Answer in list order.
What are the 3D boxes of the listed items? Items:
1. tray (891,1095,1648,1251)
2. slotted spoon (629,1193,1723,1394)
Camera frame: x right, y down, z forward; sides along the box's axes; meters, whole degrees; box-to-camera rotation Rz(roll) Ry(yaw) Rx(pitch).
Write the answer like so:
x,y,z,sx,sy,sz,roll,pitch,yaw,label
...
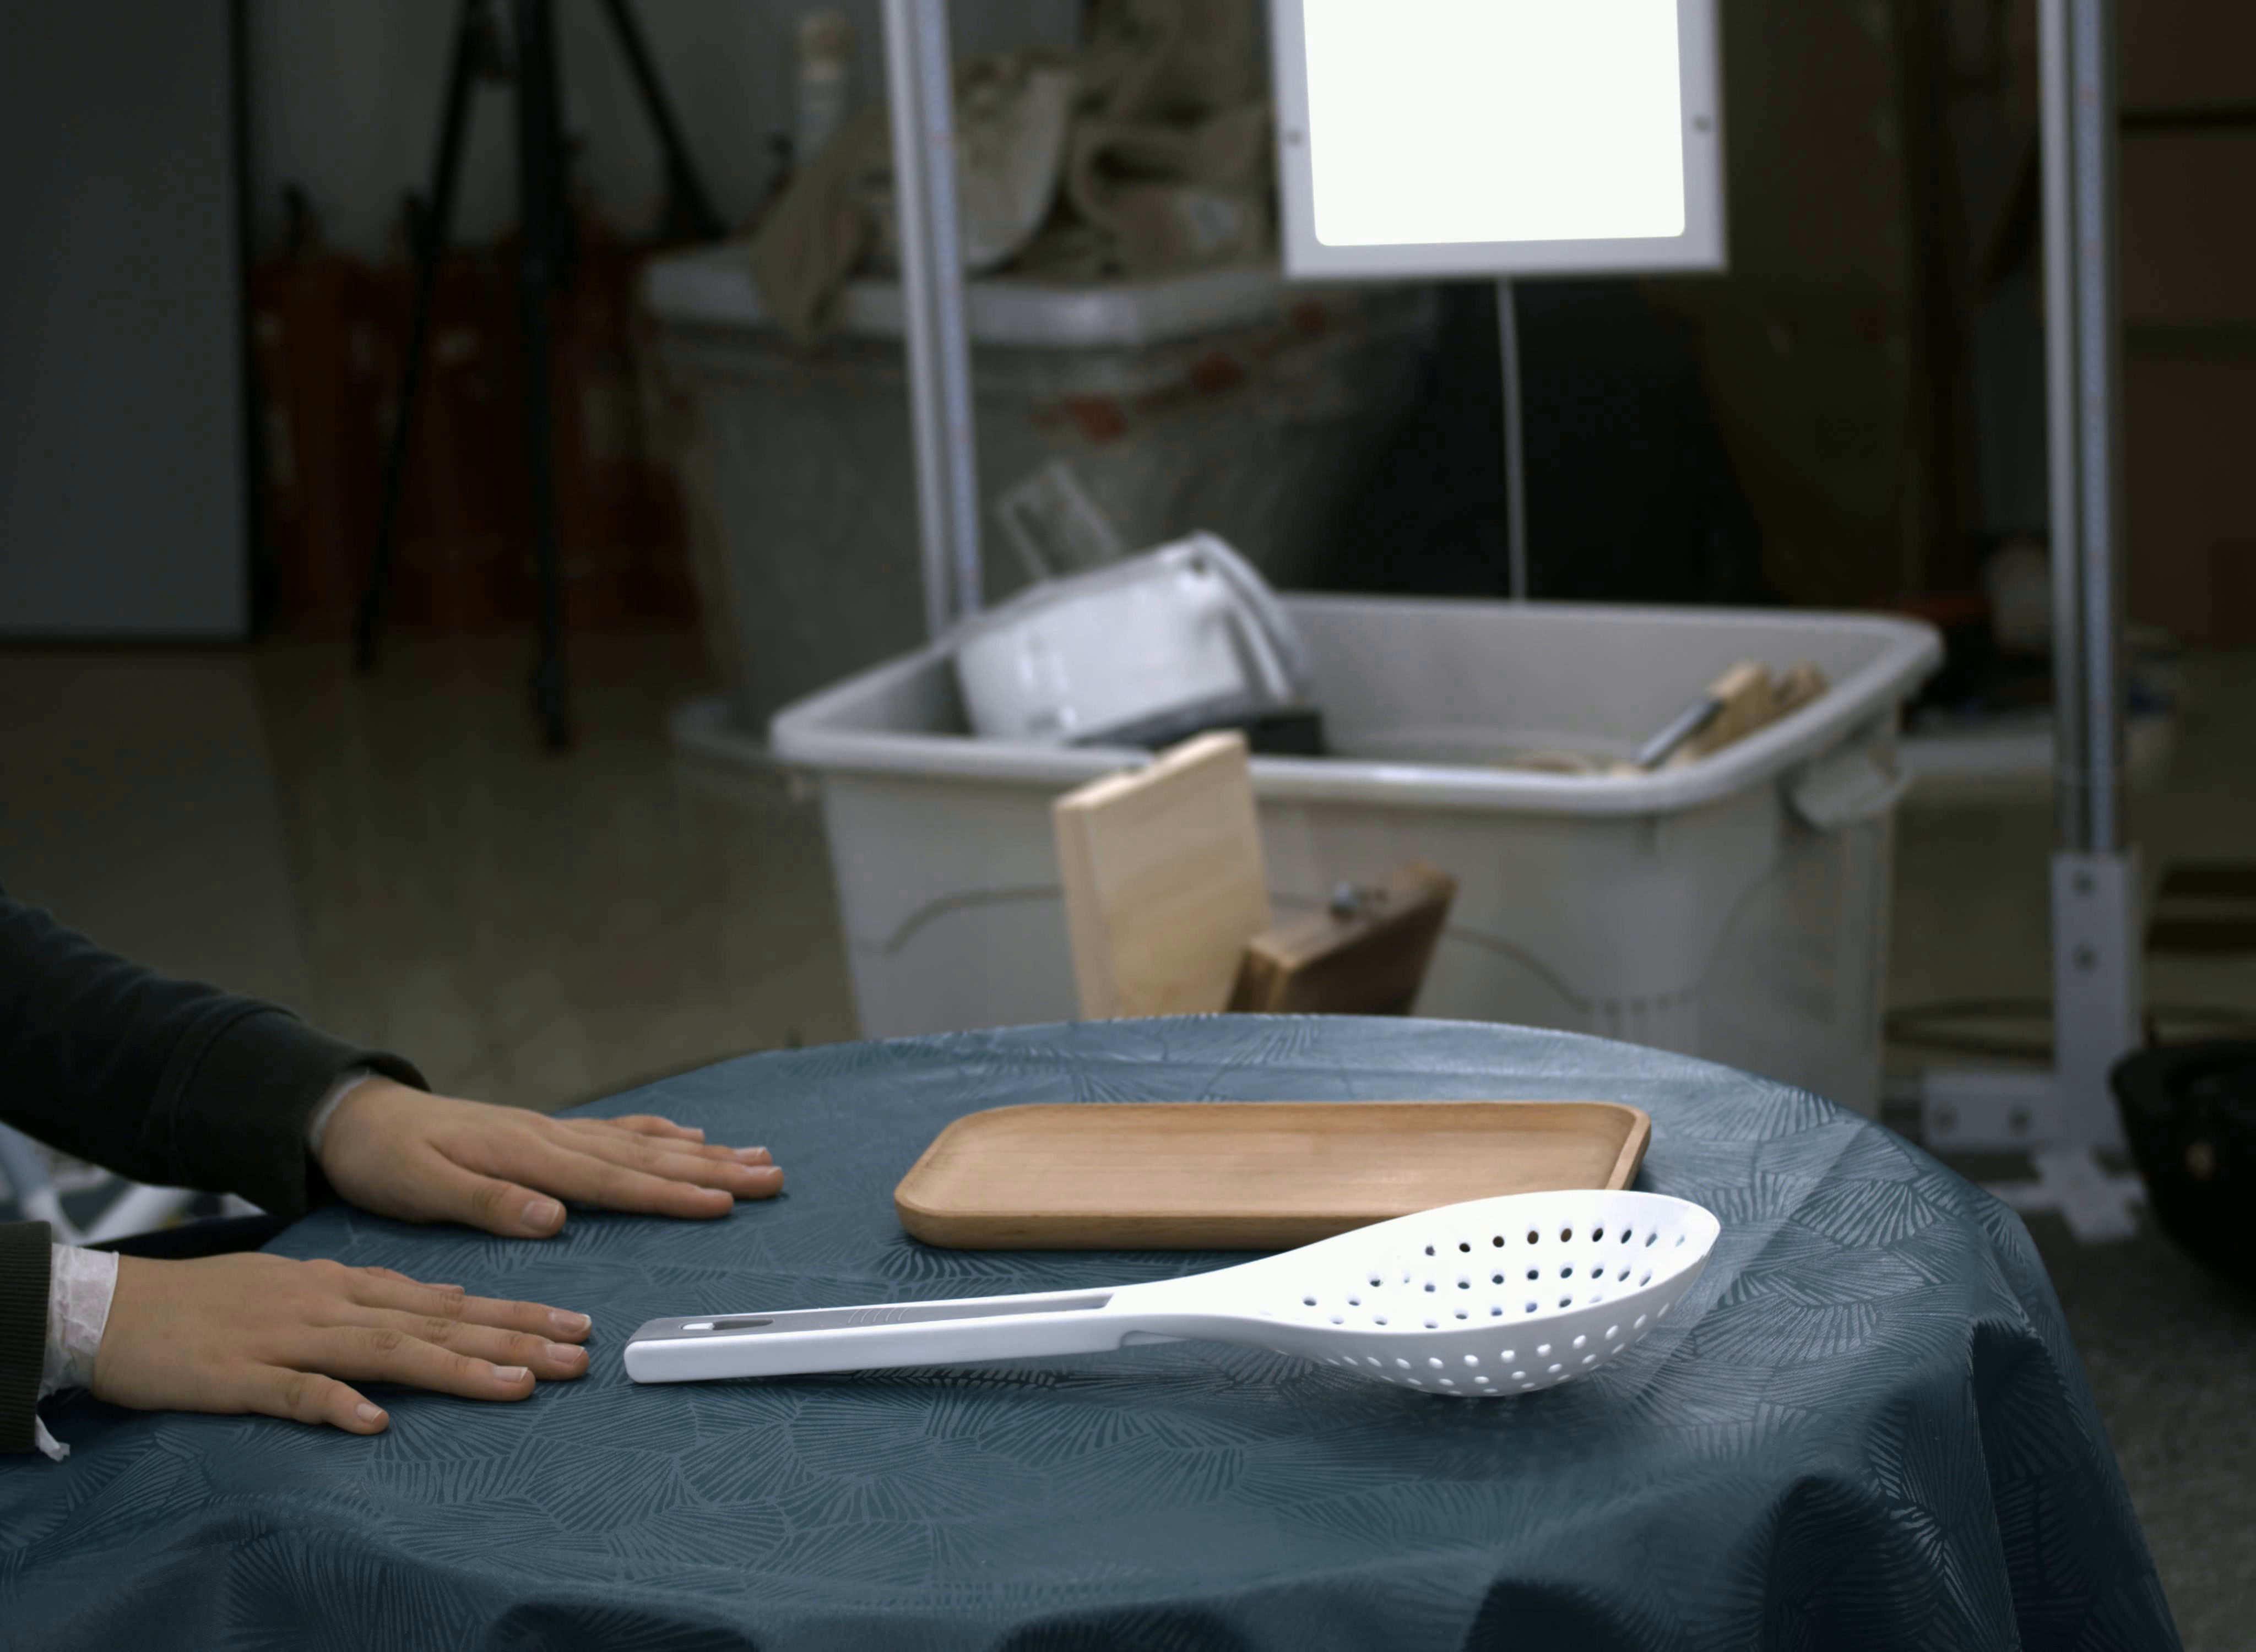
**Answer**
x,y,z,sx,sy,sz,roll,pitch,yaw,label
0.050,0.119,1.877,0.253,0.023,0.129,-2,12,16,tray
0.011,0.150,1.703,0.353,0.046,0.134,-2,12,17,slotted spoon
